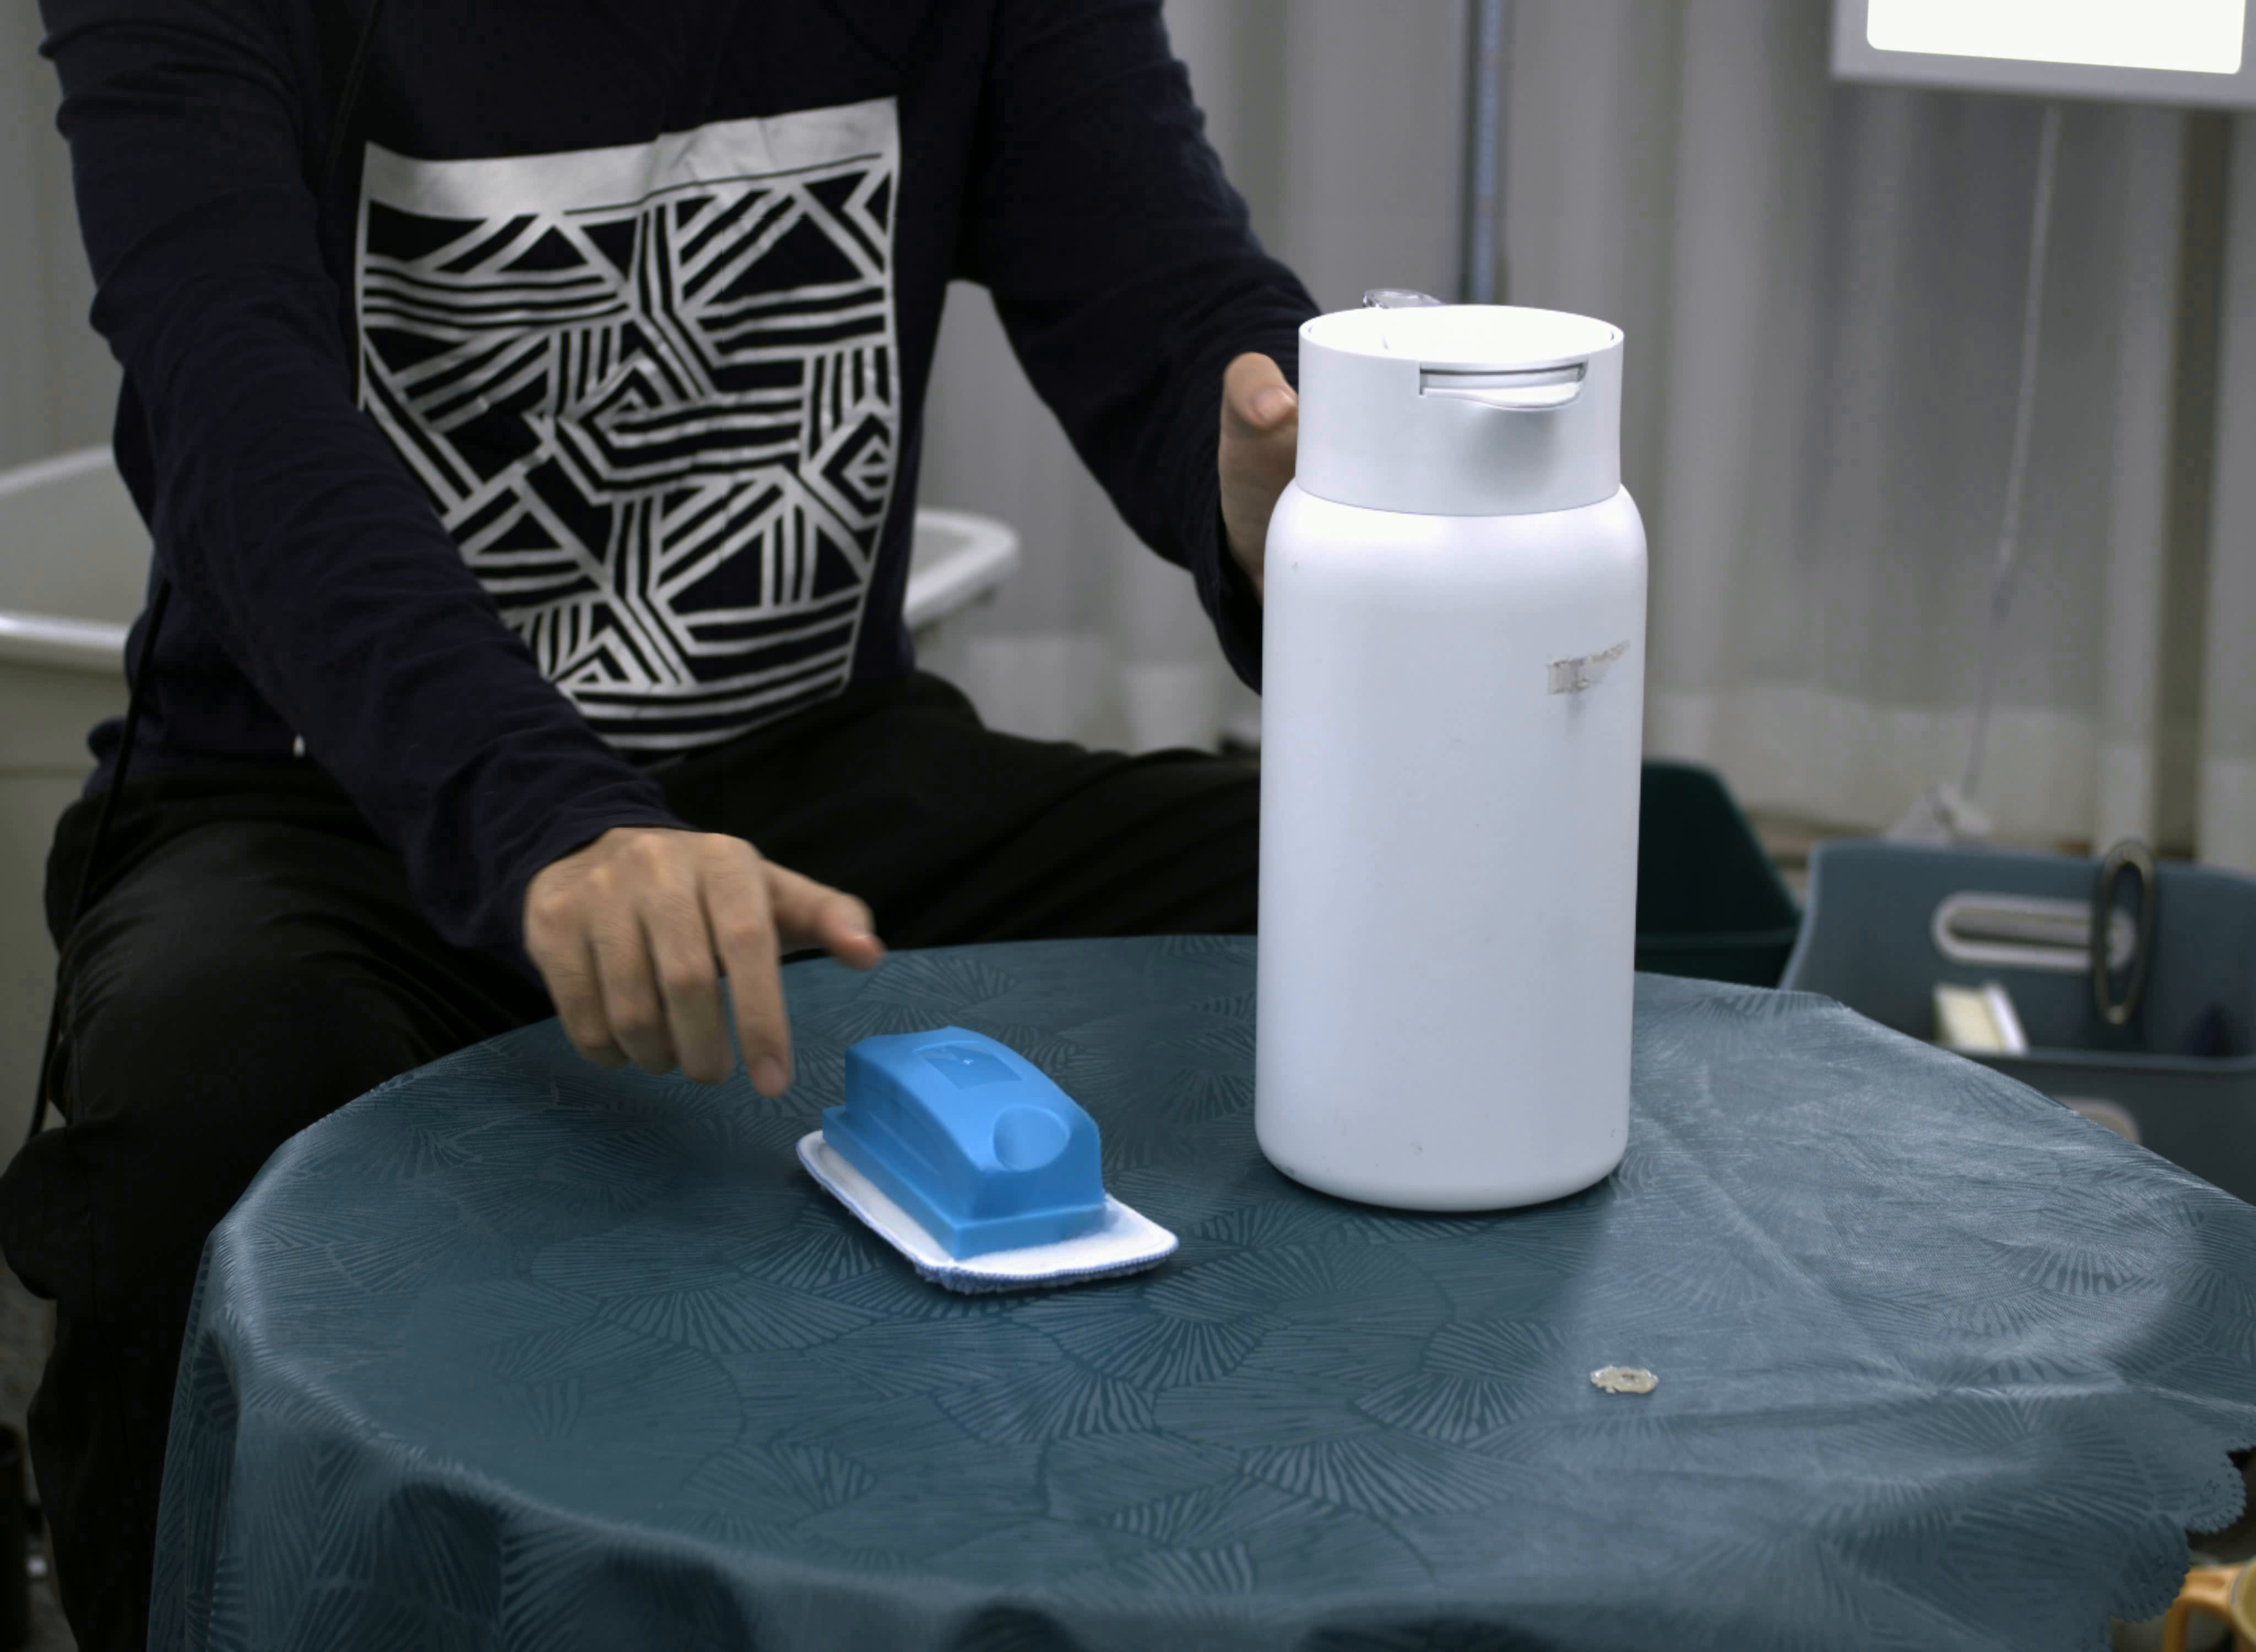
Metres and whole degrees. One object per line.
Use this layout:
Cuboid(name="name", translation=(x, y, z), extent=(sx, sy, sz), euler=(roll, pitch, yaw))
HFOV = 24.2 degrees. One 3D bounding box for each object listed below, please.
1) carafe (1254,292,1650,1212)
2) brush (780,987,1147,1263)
Cuboid(name="carafe", translation=(0.093, -0.027, 1.633), extent=(0.124, 0.271, 0.171), euler=(-6, 16, -17))
Cuboid(name="brush", translation=(-0.049, 0.087, 1.594), extent=(0.084, 0.056, 0.142), euler=(-3, 19, -21))
